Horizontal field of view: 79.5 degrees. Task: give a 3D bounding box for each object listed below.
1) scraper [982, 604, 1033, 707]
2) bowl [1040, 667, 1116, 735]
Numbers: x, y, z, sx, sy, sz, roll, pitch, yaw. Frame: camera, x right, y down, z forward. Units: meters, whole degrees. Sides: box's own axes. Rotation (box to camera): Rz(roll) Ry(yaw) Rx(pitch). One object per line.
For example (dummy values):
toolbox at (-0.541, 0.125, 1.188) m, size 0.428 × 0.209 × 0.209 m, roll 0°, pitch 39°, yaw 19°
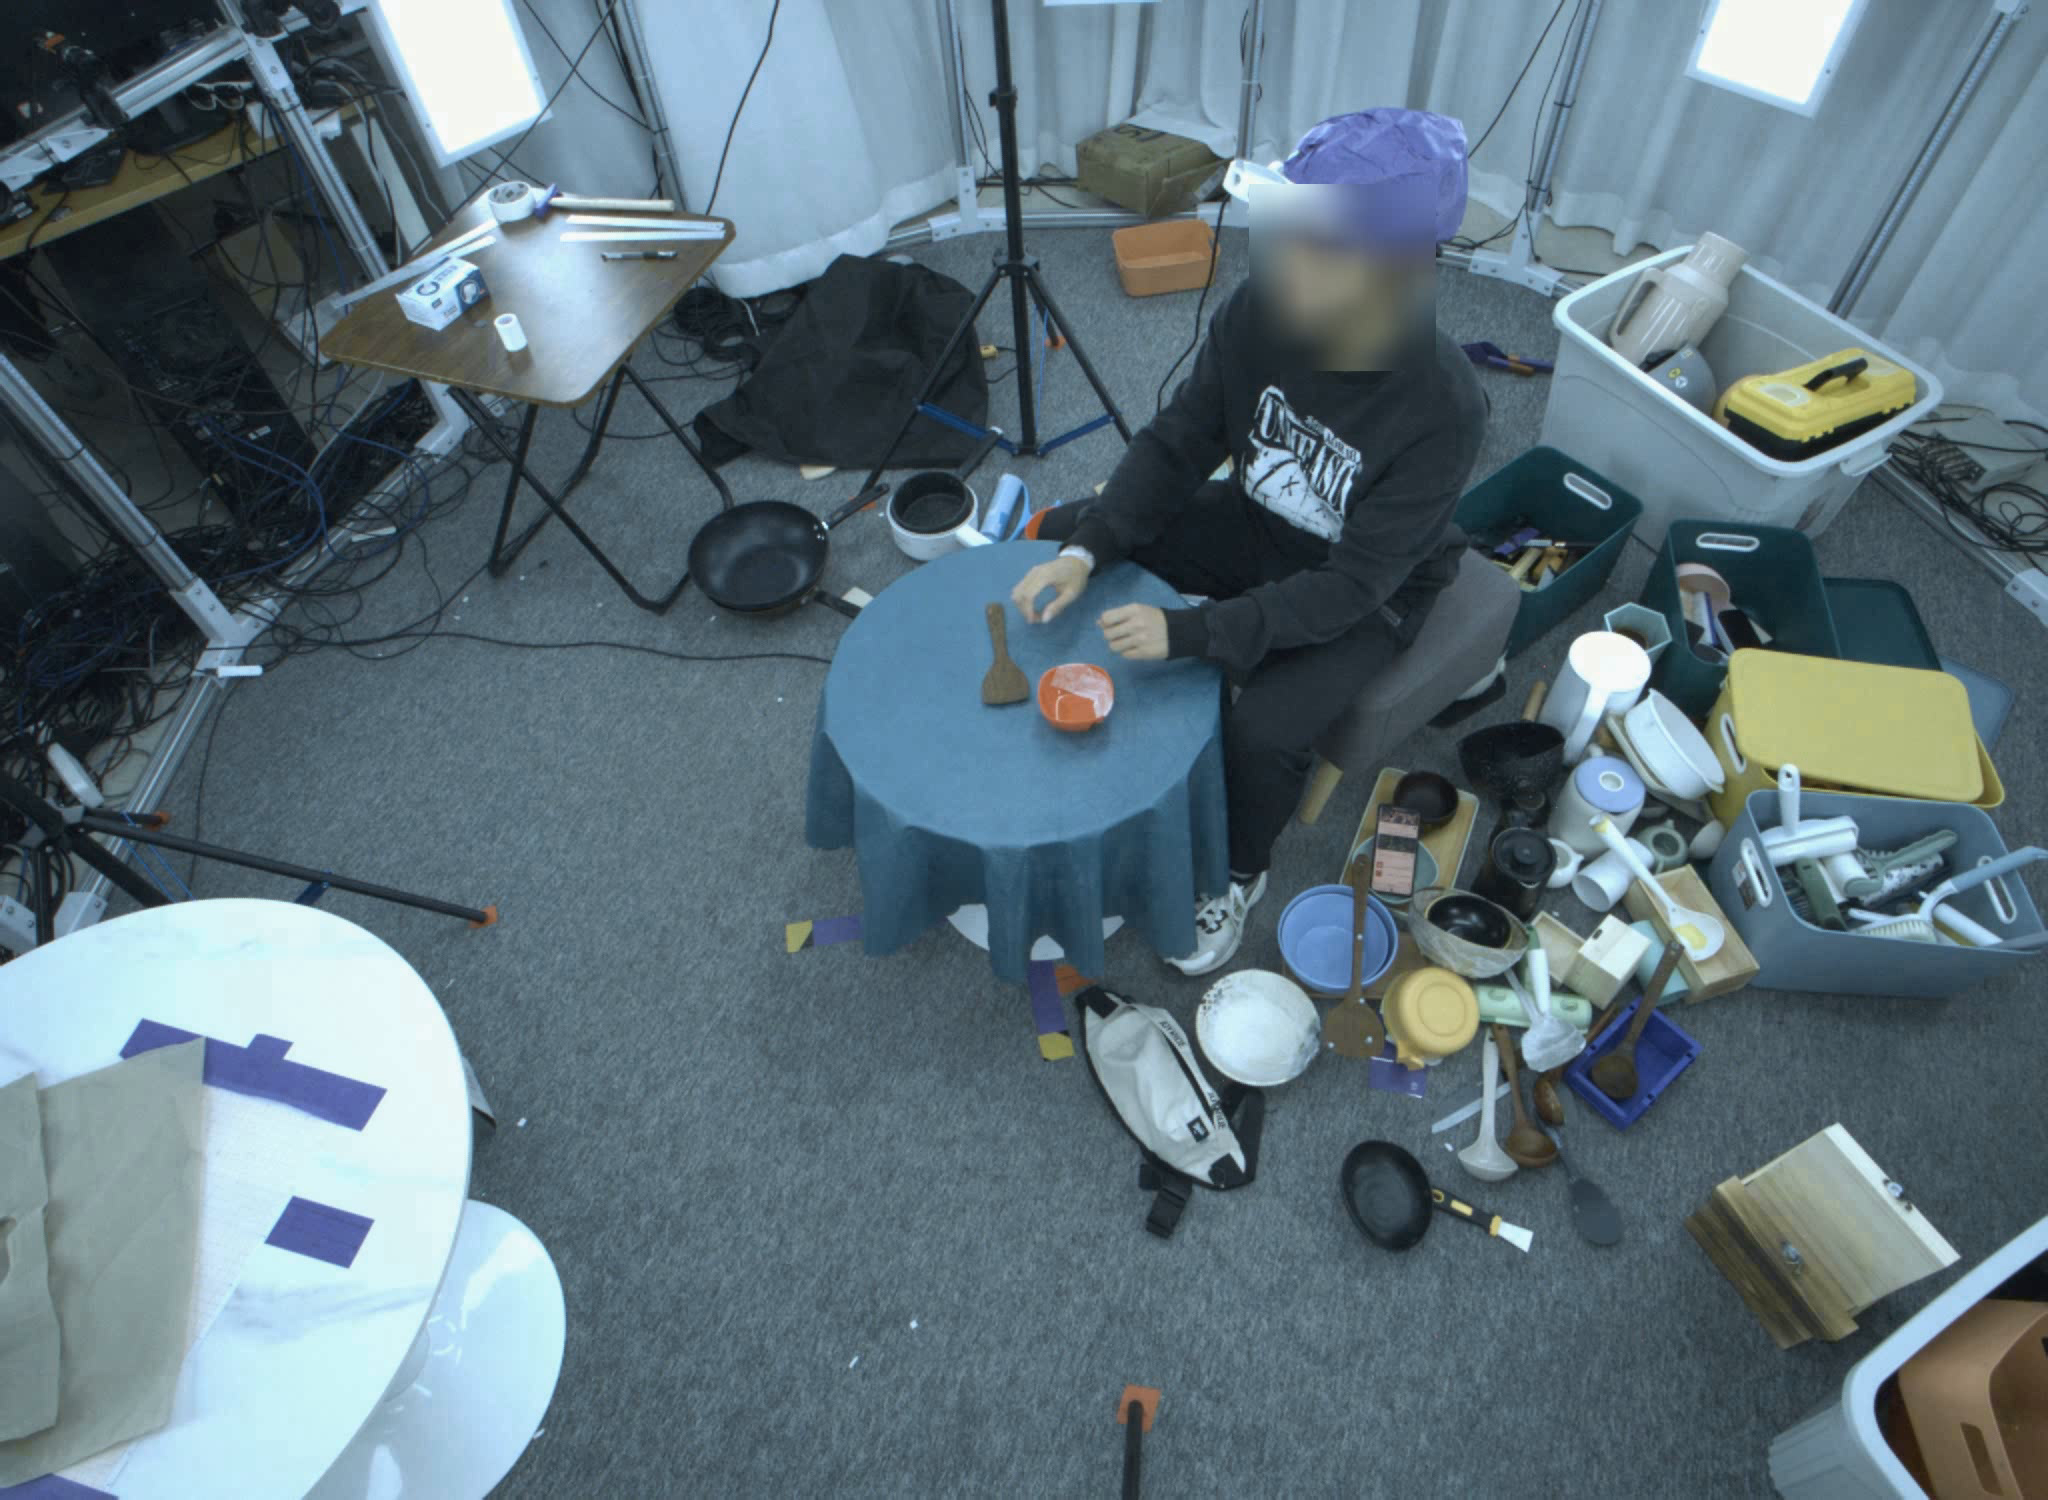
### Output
scraper at (-0.035, -0.148, 1.898) m, size 0.076 × 0.011 × 0.208 m, roll -6°, pitch 54°, yaw -3°
bowl at (0.080, -0.065, 1.810) m, size 0.118 × 0.052 × 0.118 m, roll -2°, pitch 56°, yaw 4°
